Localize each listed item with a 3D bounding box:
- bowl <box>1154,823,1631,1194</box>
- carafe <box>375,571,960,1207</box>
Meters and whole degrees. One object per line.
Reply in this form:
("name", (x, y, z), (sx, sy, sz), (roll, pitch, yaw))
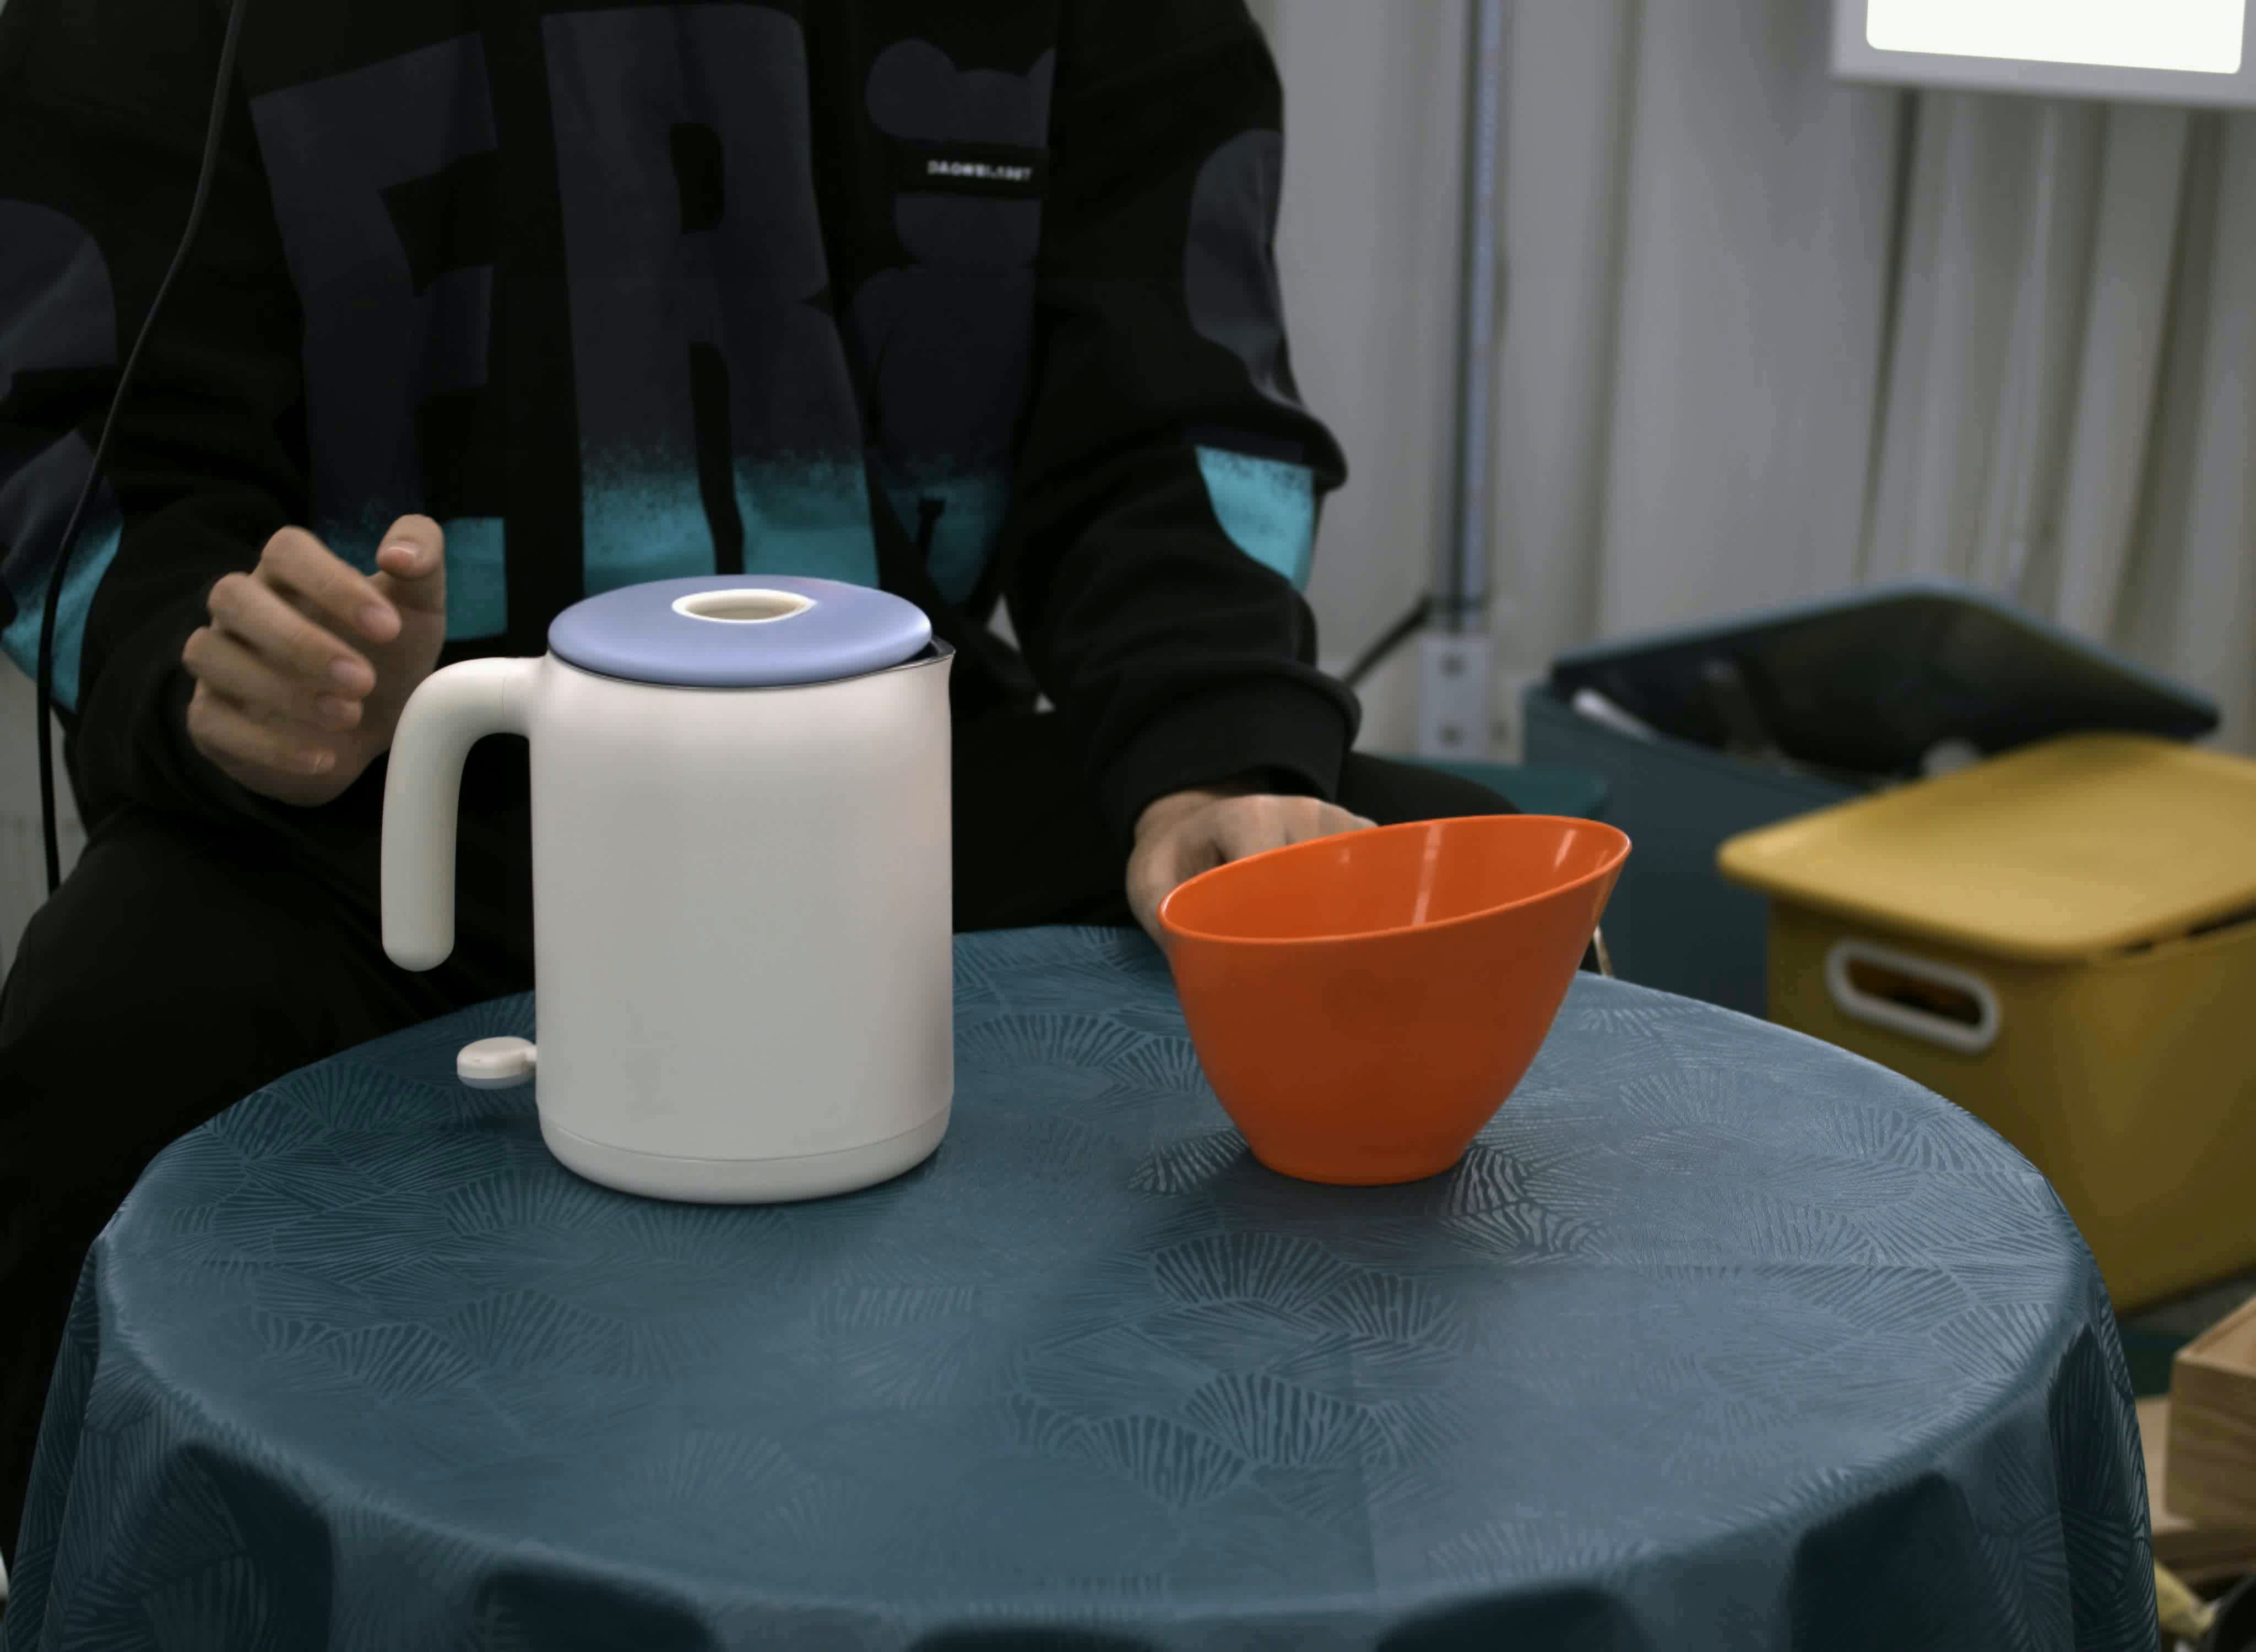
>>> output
("bowl", (0.080, 0.056, 1.636), (0.147, 0.105, 0.147), (1, 16, 0))
("carafe", (-0.143, 0.018, 1.637), (0.190, 0.184, 0.132), (1, 15, 11))
